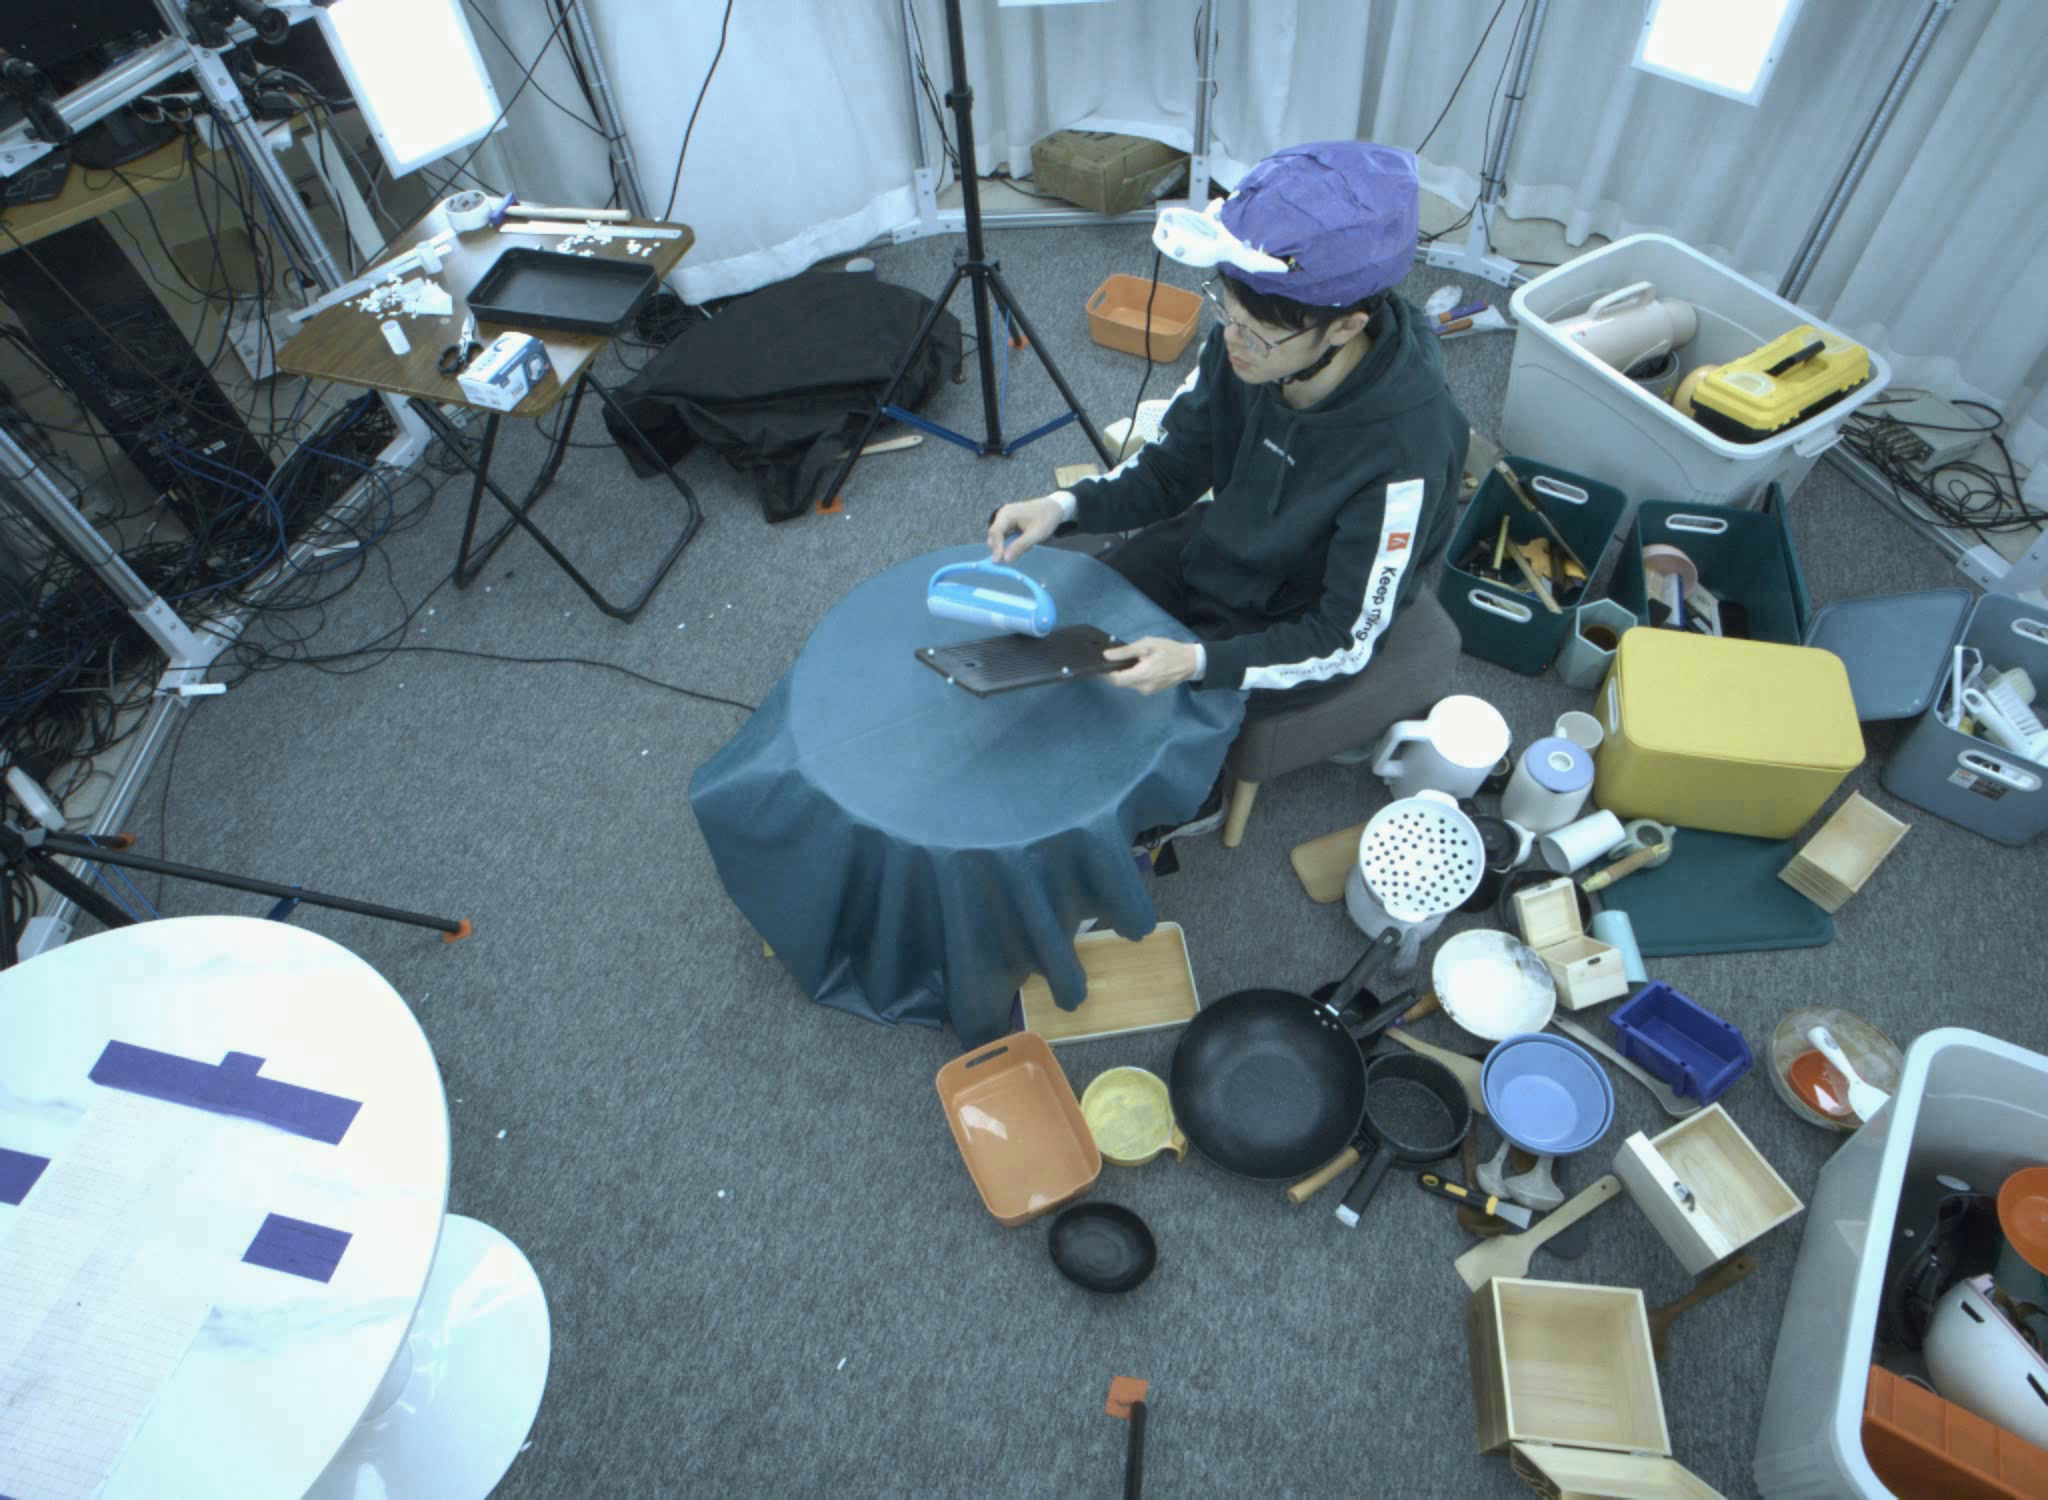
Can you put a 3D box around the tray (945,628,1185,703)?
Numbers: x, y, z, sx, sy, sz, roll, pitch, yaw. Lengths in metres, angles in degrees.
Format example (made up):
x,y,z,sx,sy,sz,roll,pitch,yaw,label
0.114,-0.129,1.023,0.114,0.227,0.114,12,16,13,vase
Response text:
x,y,z,sx,sy,sz,roll,pitch,yaw,label
0.059,-0.119,1.701,0.311,0.019,0.166,-11,30,-33,tray

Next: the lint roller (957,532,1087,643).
x,y,z,sx,sy,sz,roll,pitch,yaw,label
0.015,-0.255,1.801,0.224,0.069,0.180,14,77,34,lint roller
